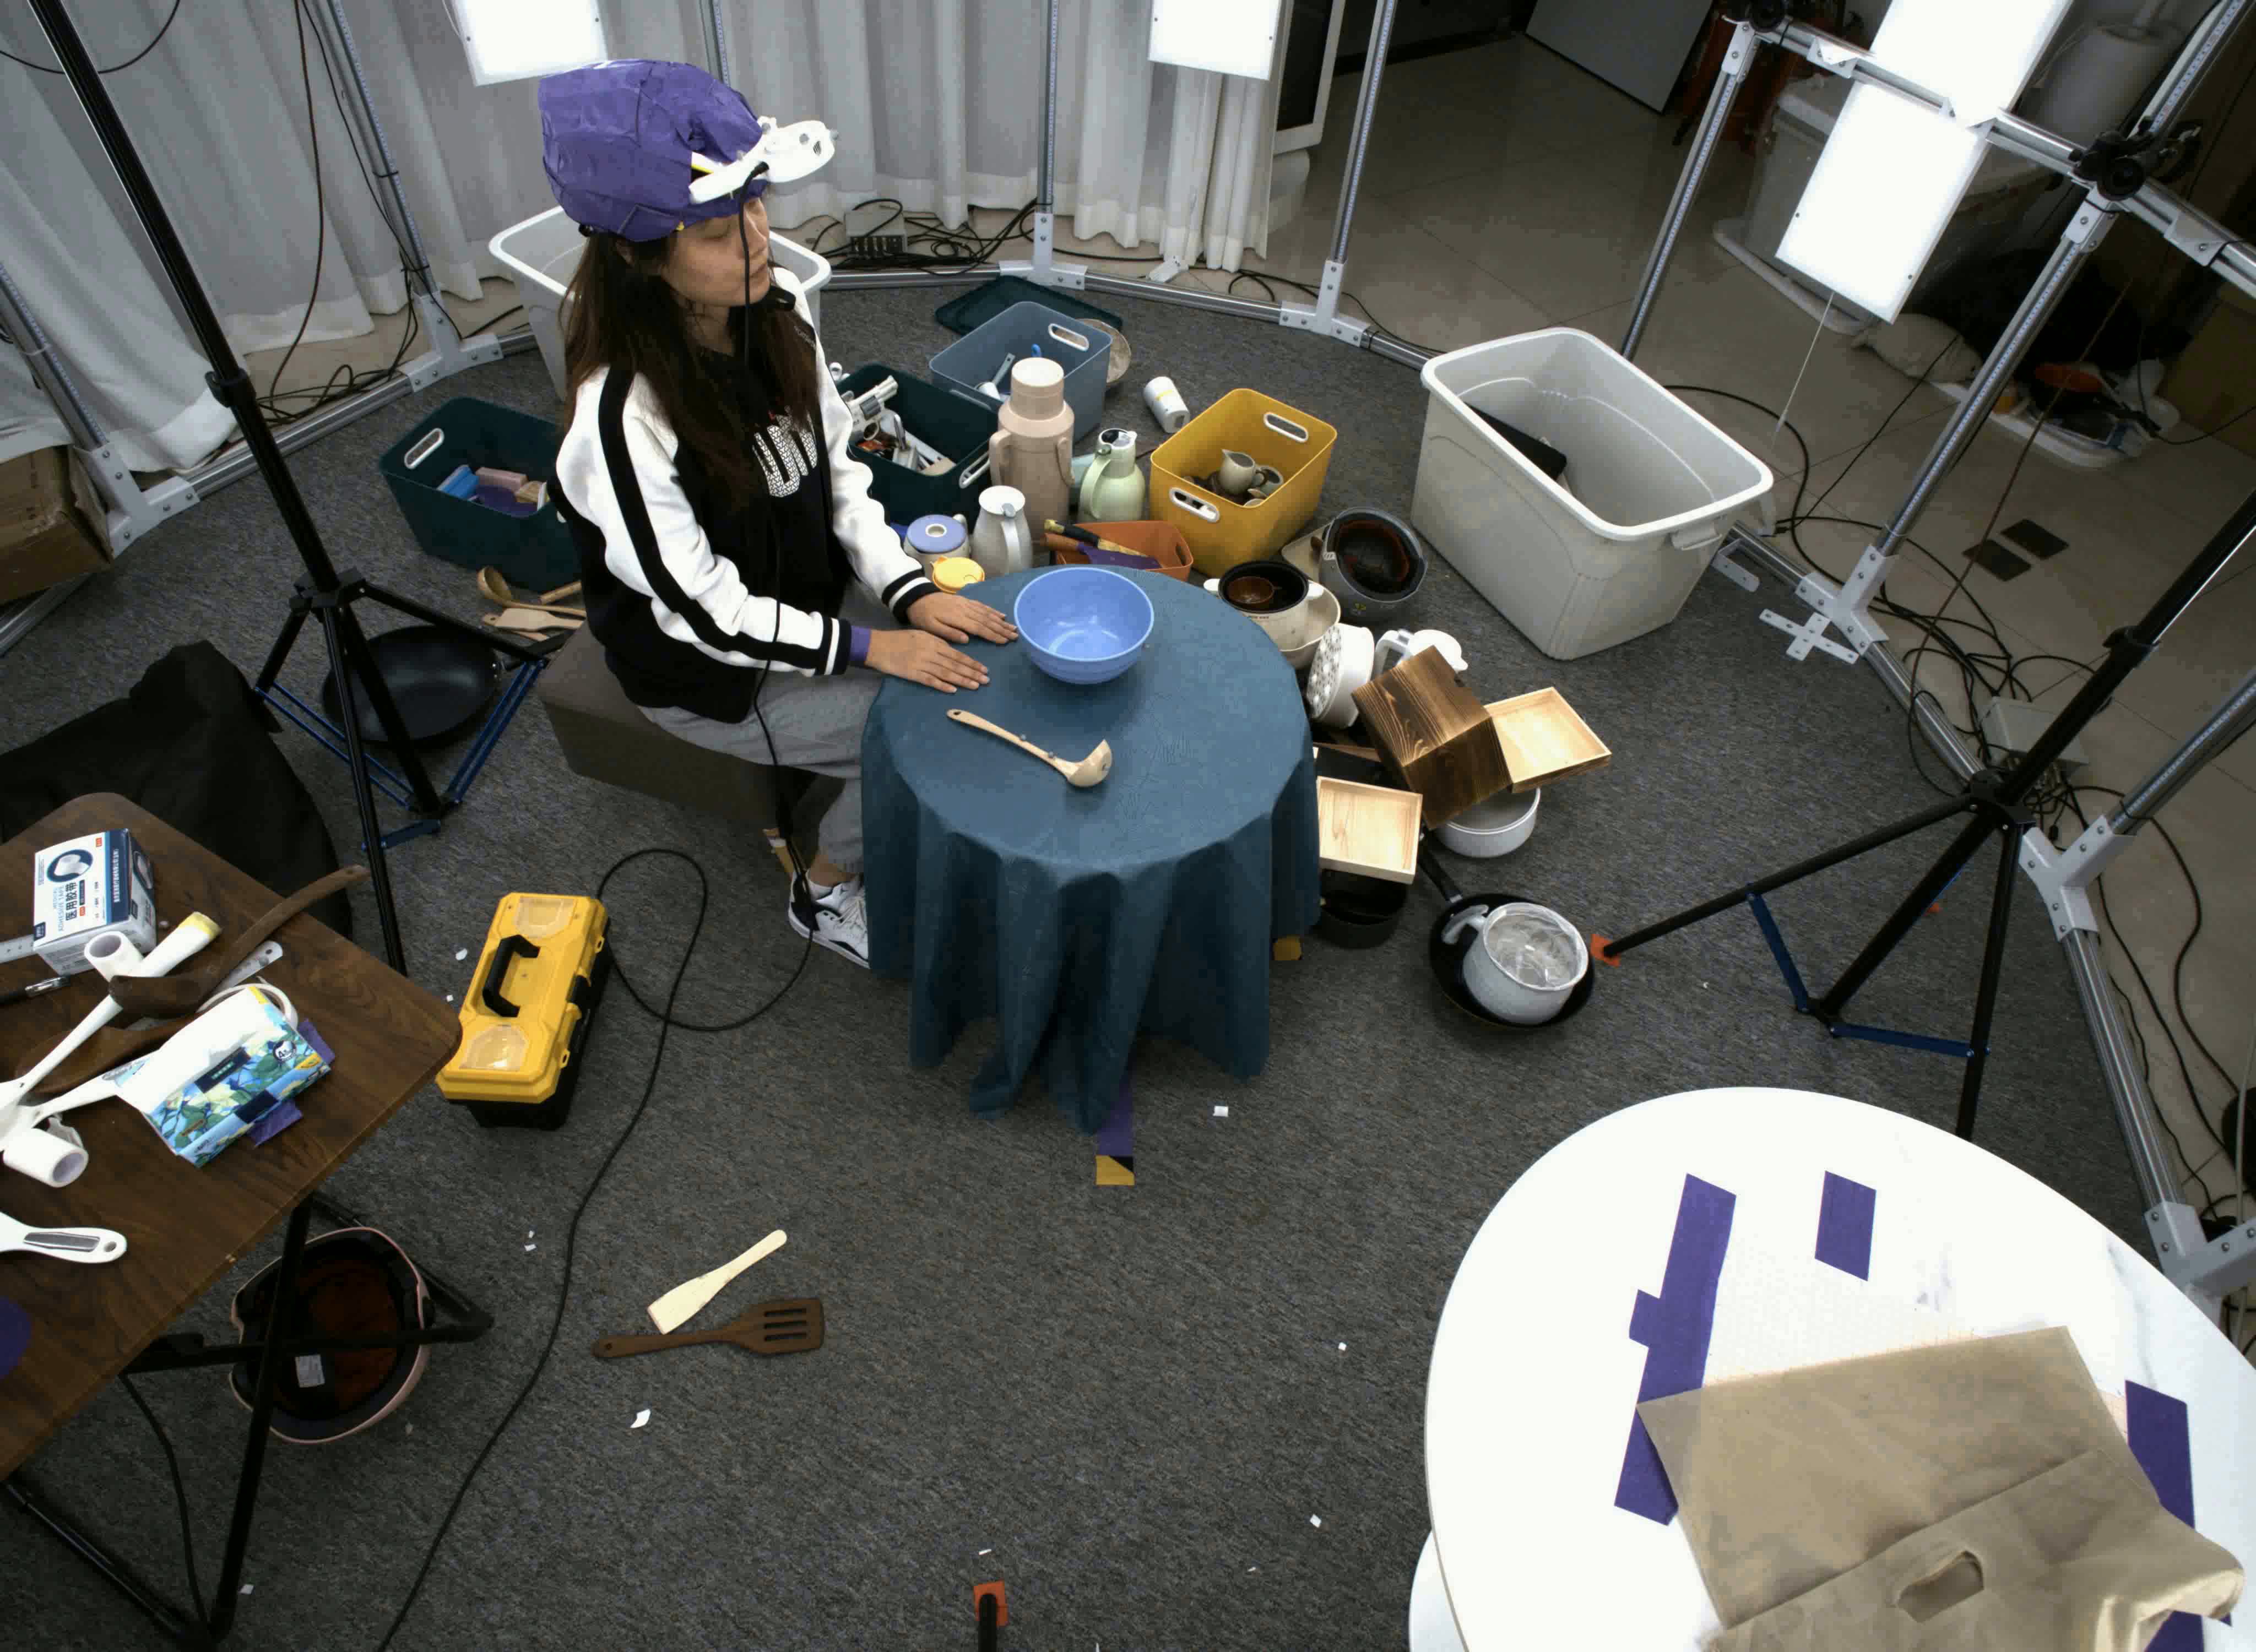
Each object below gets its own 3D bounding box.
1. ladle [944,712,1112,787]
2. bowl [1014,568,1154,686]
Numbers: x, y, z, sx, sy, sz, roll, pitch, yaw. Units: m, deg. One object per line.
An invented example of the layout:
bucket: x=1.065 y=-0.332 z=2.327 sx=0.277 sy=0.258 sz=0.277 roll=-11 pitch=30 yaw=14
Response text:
ladle: x=-0.140 y=-0.126 z=1.723 sx=0.256 sy=0.071 sz=0.073 roll=25 pitch=51 yaw=17
bowl: x=-0.064 y=-0.269 z=1.842 sx=0.196 sy=0.093 sz=0.201 roll=1 pitch=51 yaw=-2
